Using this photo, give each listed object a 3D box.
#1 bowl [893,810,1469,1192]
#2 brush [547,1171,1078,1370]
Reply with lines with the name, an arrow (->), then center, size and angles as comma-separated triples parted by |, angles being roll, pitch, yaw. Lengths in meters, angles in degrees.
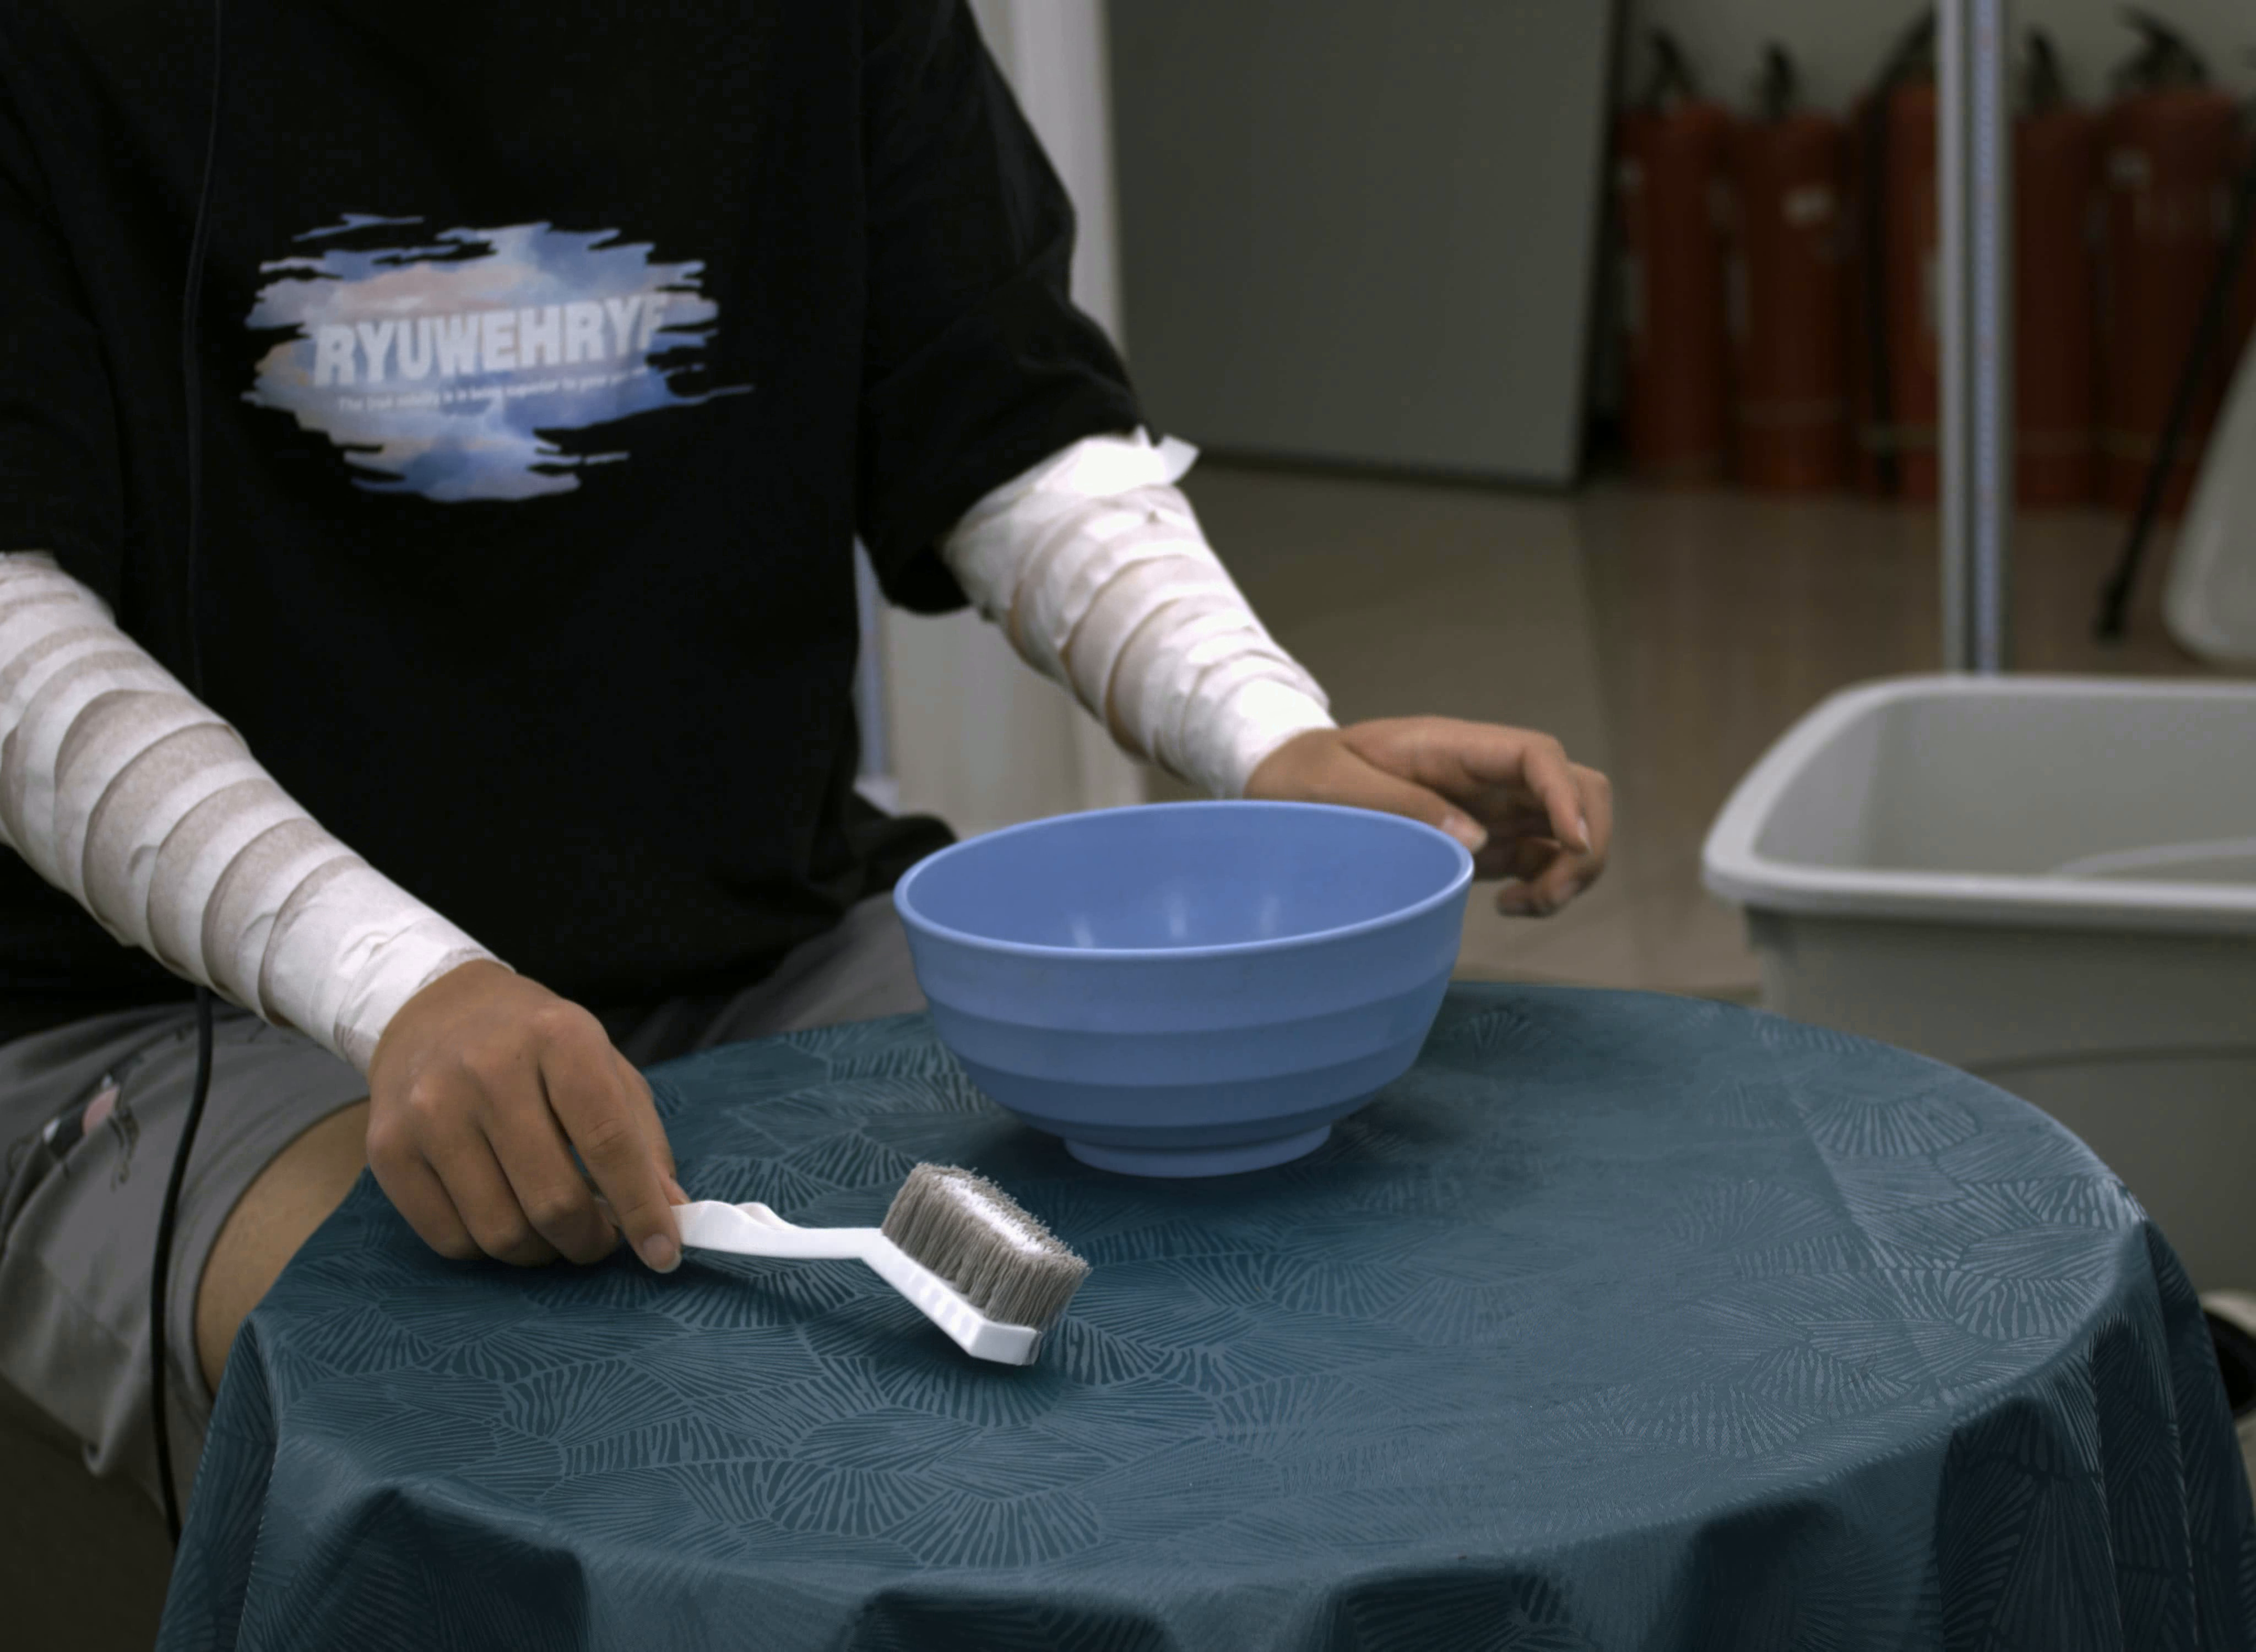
bowl -> 0.022, 0.064, 1.815 | 0.194, 0.096, 0.197 | -6, 13, 1
brush -> -0.103, 0.119, 1.687 | 0.033, 0.051, 0.246 | 5, 6, -41
